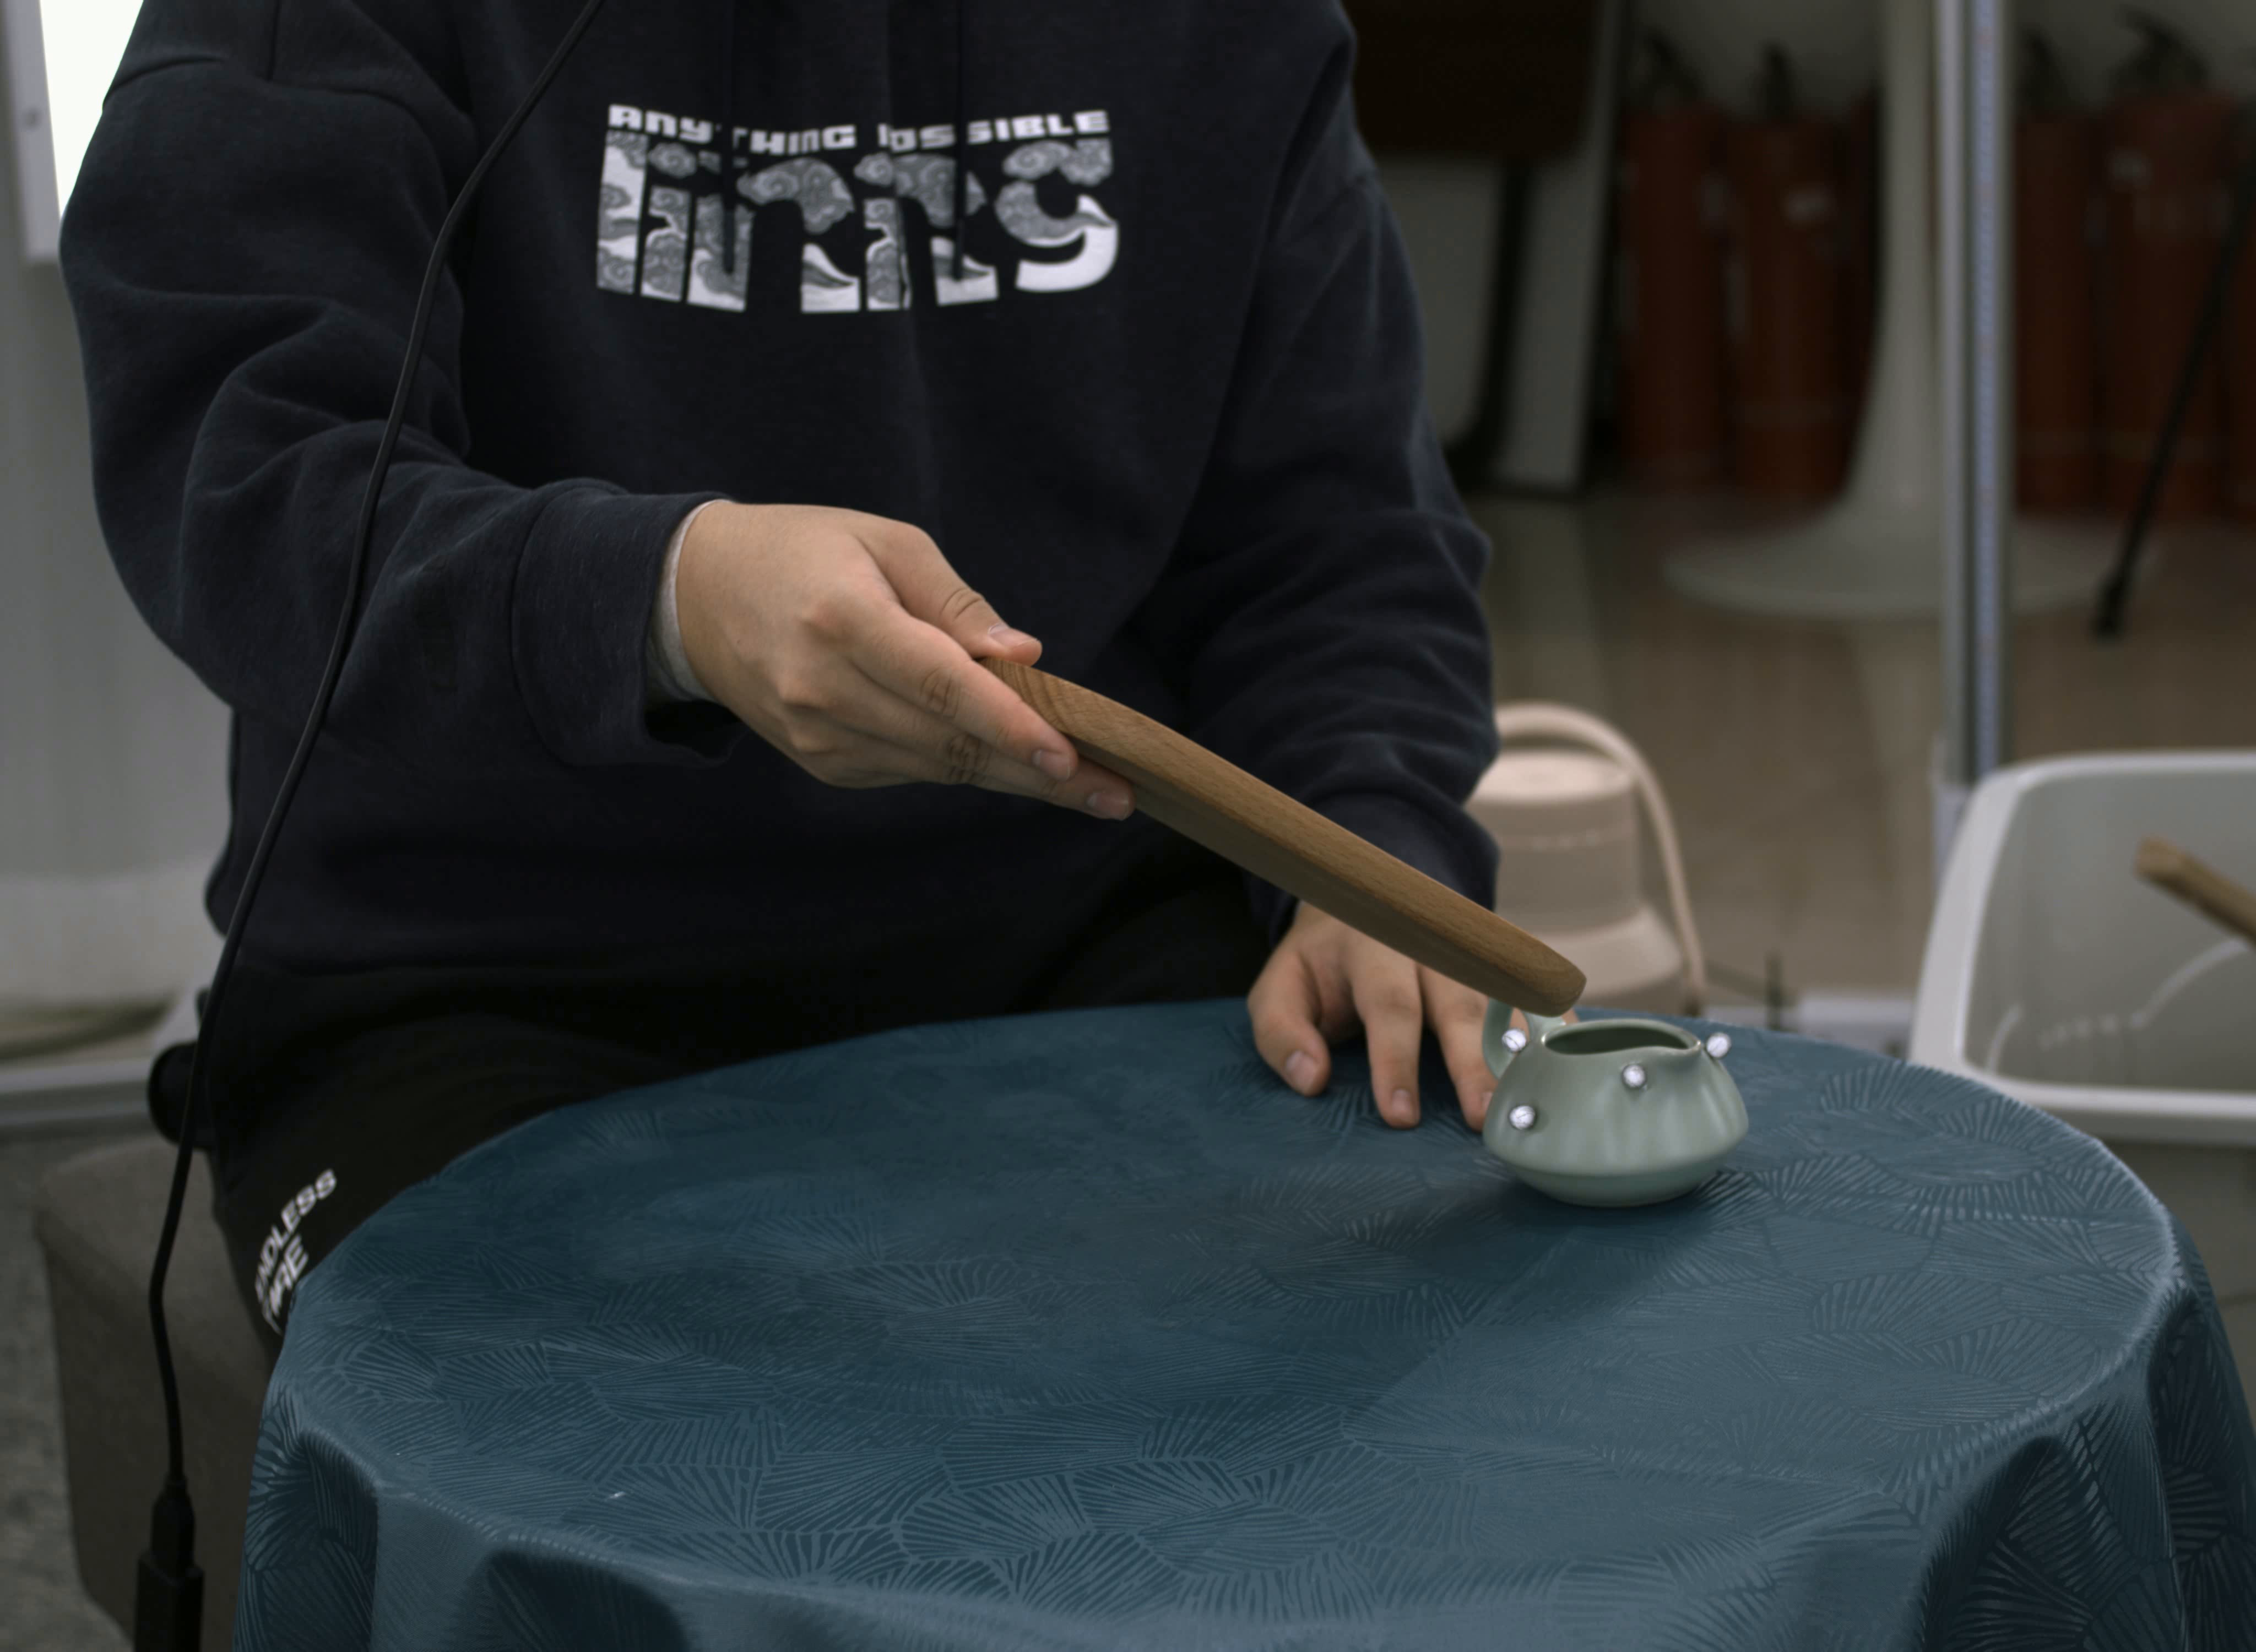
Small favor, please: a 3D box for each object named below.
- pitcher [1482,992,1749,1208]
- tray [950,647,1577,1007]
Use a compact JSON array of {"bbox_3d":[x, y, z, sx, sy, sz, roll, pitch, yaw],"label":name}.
[{"bbox_3d":[0.151,0.088,1.750,0.084,0.061,0.109,-12,13,-33],"label":"pitcher"},{"bbox_3d":[0.043,0.002,1.677,0.227,0.020,0.102,27,-8,-24],"label":"tray"}]
